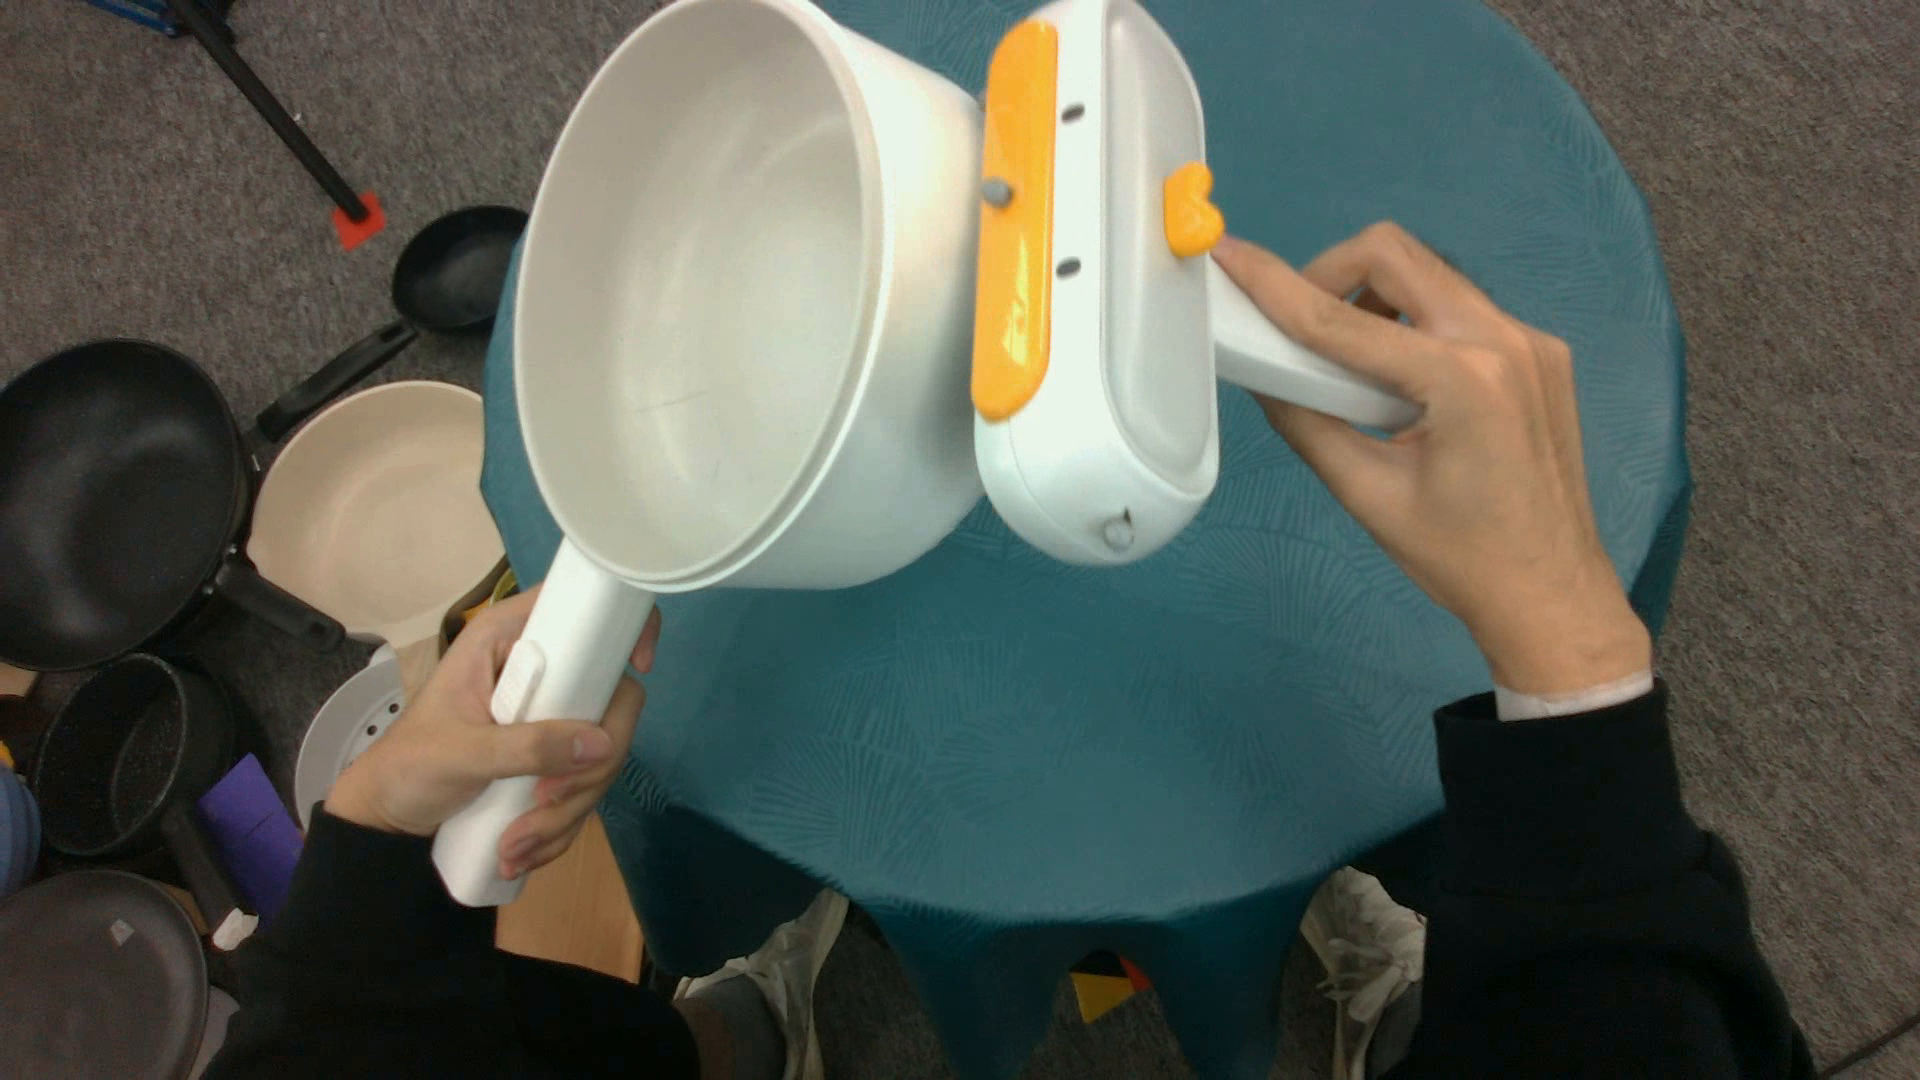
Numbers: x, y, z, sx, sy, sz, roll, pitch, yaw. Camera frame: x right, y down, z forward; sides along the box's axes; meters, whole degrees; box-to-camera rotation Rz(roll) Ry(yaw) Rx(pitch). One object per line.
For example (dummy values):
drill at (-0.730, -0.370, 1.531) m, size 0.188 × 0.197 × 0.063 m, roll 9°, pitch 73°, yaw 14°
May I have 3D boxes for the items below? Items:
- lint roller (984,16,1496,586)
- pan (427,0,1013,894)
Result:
lint roller at (0.094, -0.067, 0.448) m, size 0.192 × 0.074 × 0.193 m, roll 19°, pitch 52°, yaw -32°
pan at (-0.096, -0.017, 0.520) m, size 0.201 × 0.102 × 0.353 m, roll 40°, pitch 112°, yaw 37°
